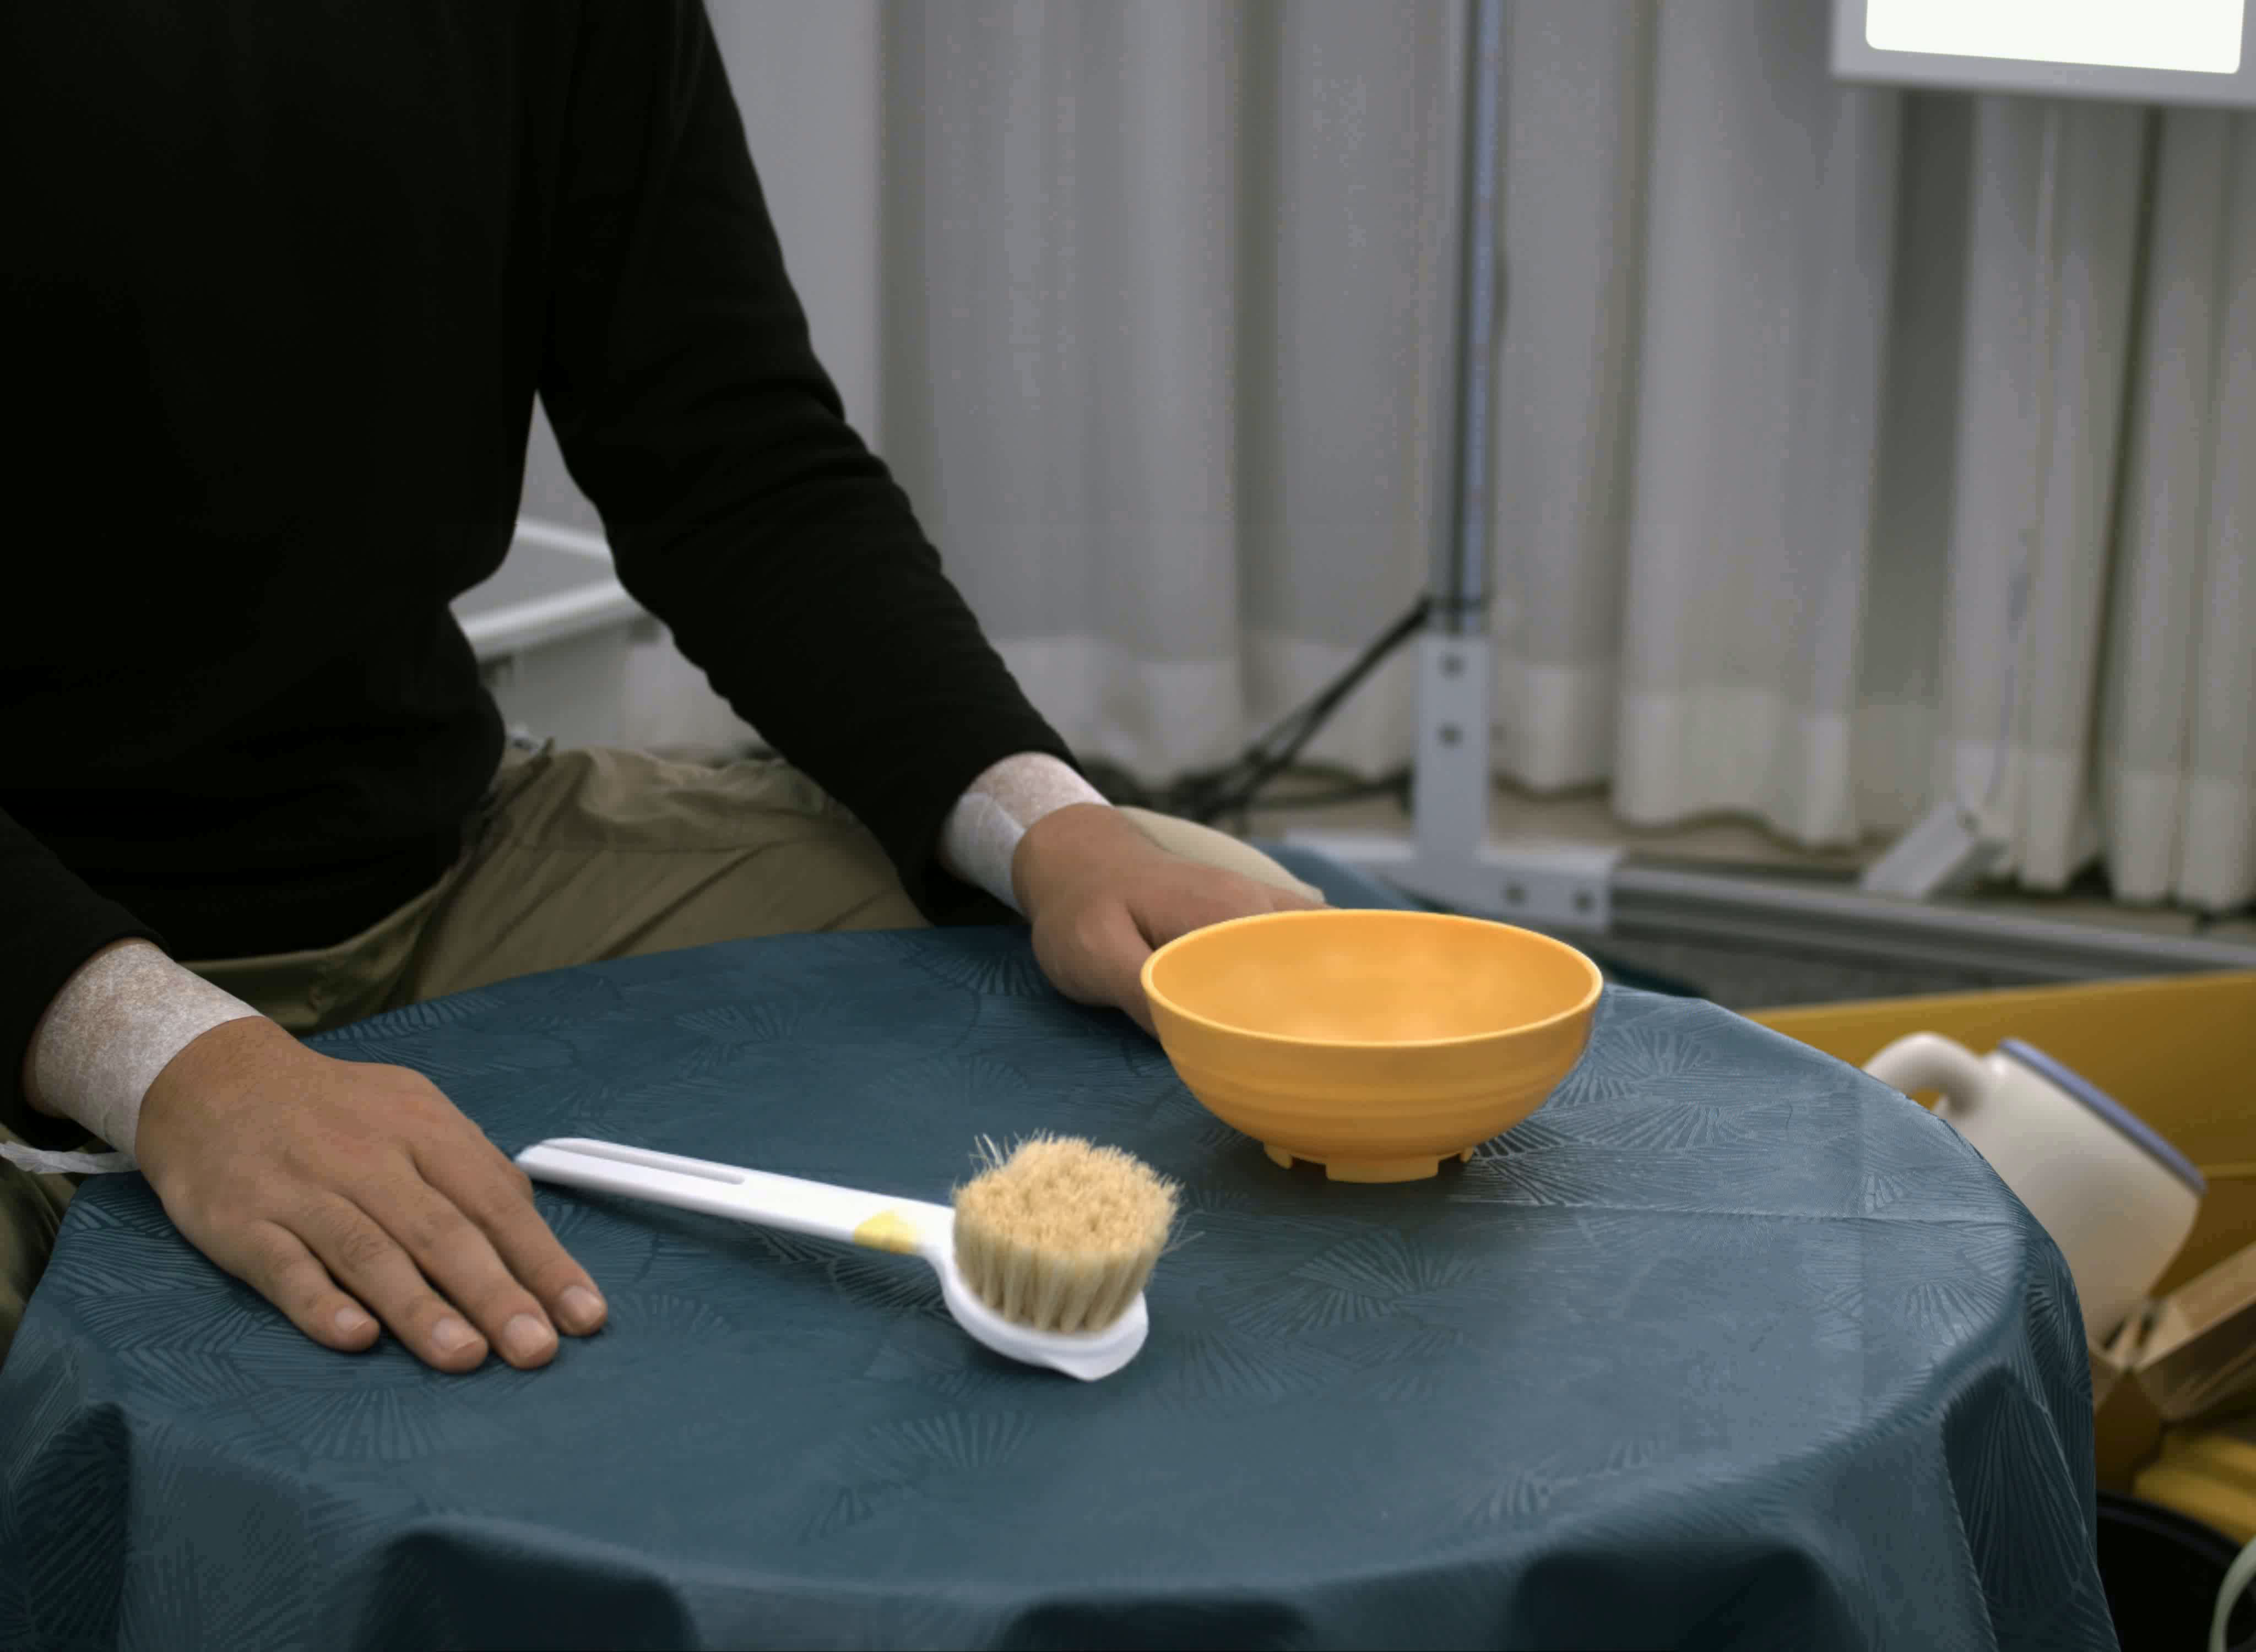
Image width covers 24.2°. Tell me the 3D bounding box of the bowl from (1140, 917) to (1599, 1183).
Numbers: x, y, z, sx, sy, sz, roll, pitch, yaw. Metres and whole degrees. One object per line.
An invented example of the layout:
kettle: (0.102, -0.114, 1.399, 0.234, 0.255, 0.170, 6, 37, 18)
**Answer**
bowl: (0.075, 0.074, 1.652, 0.145, 0.060, 0.144, 1, 14, 0)

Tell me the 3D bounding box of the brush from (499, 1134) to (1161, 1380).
brush: (-0.096, 0.104, 1.546, 0.263, 0.056, 0.069, 14, 16, 42)
